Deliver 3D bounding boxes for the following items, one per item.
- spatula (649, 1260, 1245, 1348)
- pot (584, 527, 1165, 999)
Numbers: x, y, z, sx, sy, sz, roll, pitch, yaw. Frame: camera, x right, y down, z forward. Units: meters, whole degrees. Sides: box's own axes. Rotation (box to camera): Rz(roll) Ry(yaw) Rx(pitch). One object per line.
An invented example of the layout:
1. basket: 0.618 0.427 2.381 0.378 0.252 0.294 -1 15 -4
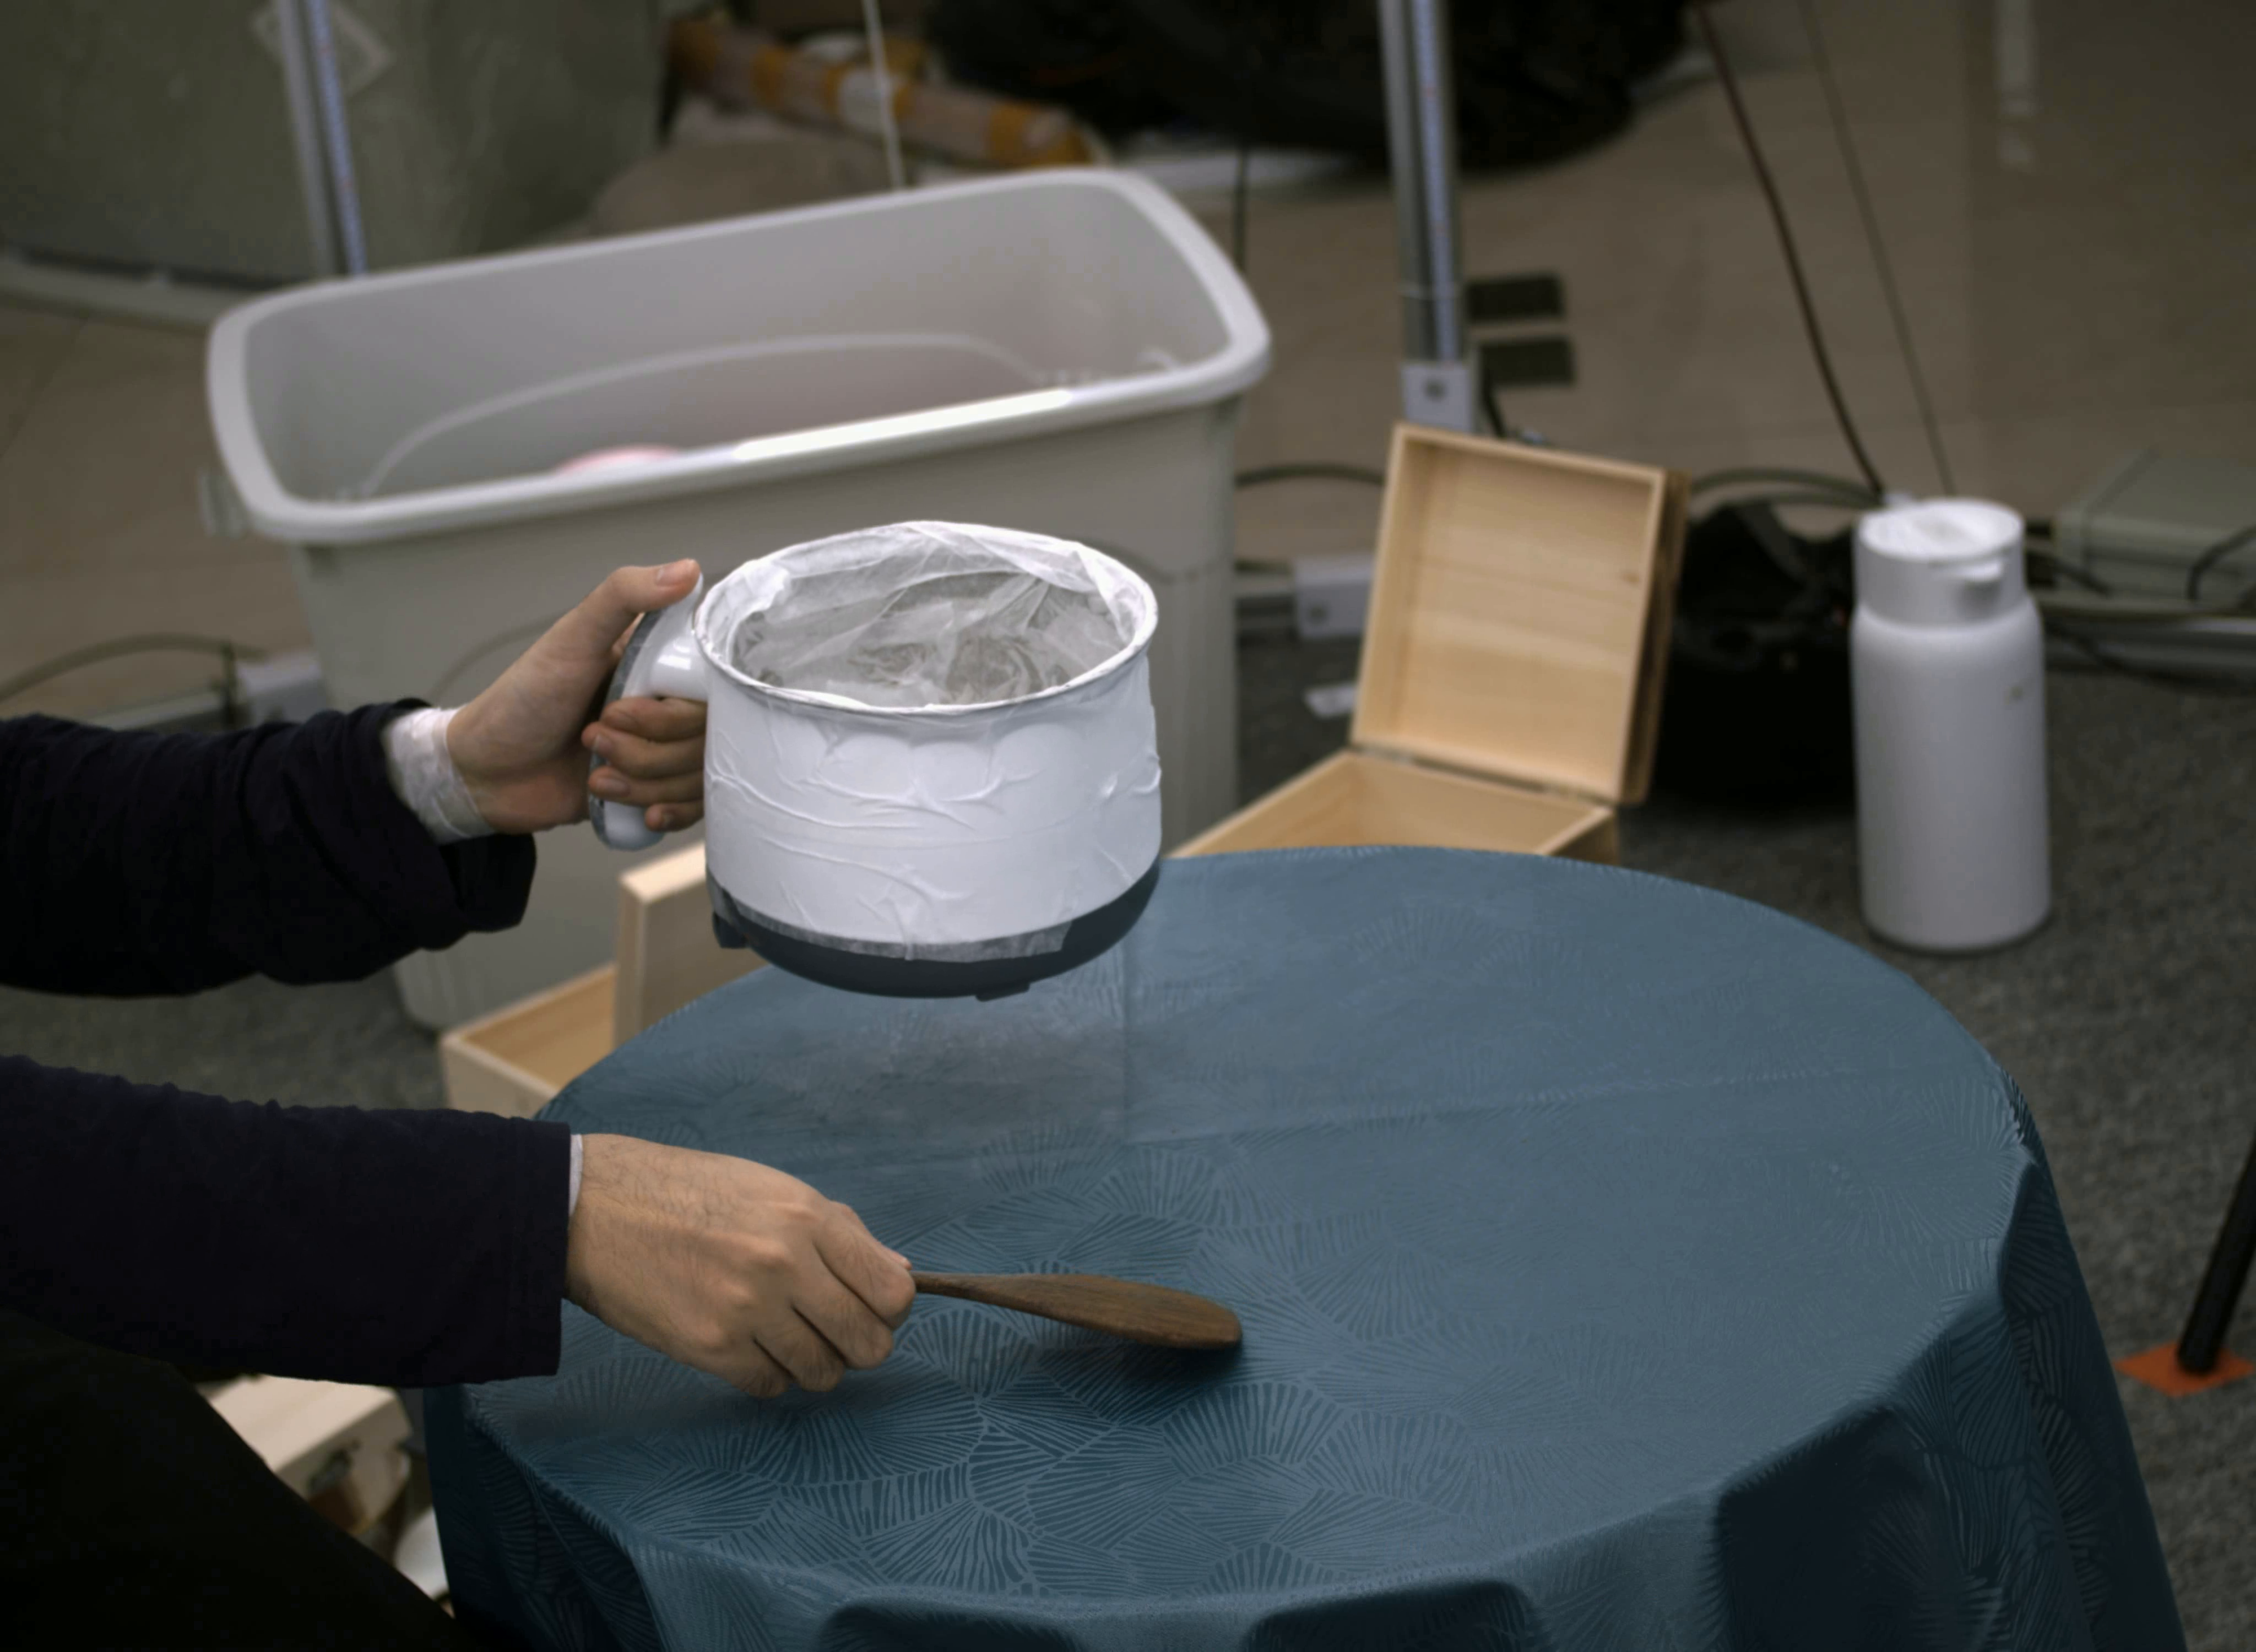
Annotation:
1. spatula: -0.065 0.168 2.036 0.215 0.009 0.071 6 7 0
2. pot: -0.102 -0.028 2.185 0.233 0.139 0.176 9 26 17
